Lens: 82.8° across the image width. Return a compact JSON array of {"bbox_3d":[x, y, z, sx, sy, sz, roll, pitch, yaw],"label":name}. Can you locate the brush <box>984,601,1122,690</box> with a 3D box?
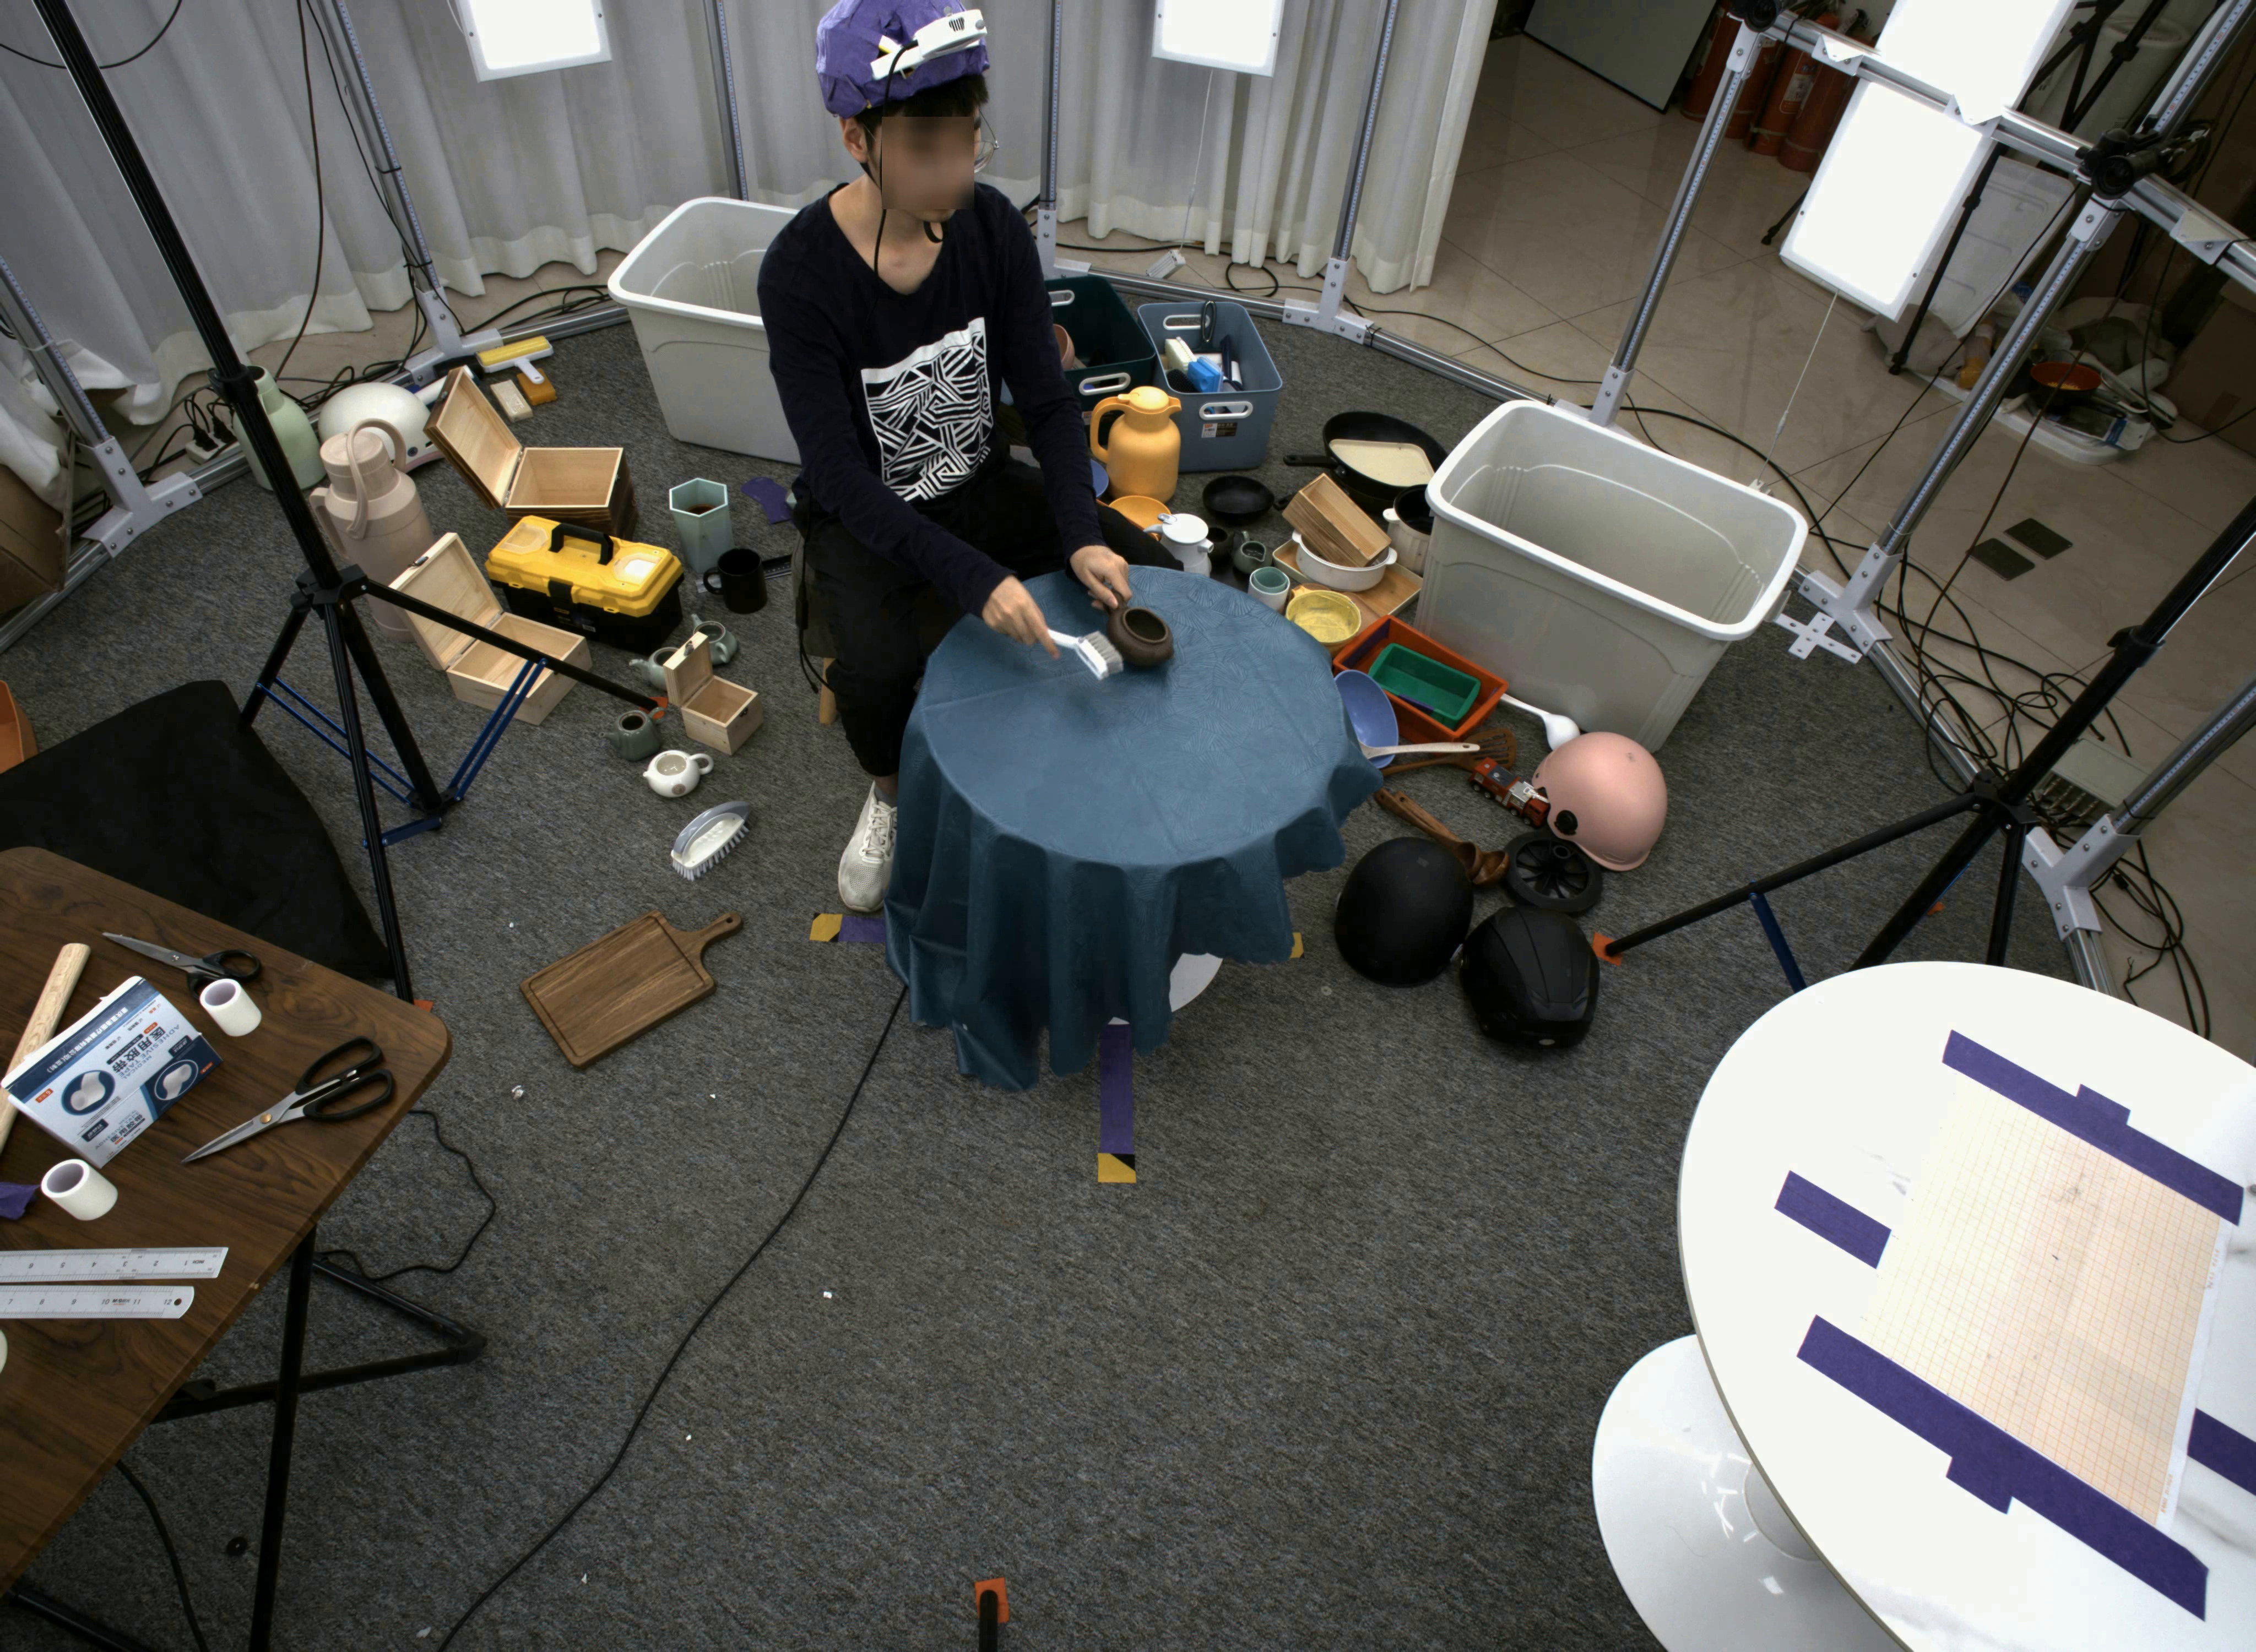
[{"bbox_3d":[-0.105,-0.268,1.821,0.247,0.033,0.050,35,69,25],"label":"brush"}]

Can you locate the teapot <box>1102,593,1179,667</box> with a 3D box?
[{"bbox_3d":[0.014,-0.279,1.867,0.155,0.053,0.103,46,47,16],"label":"teapot"}]
